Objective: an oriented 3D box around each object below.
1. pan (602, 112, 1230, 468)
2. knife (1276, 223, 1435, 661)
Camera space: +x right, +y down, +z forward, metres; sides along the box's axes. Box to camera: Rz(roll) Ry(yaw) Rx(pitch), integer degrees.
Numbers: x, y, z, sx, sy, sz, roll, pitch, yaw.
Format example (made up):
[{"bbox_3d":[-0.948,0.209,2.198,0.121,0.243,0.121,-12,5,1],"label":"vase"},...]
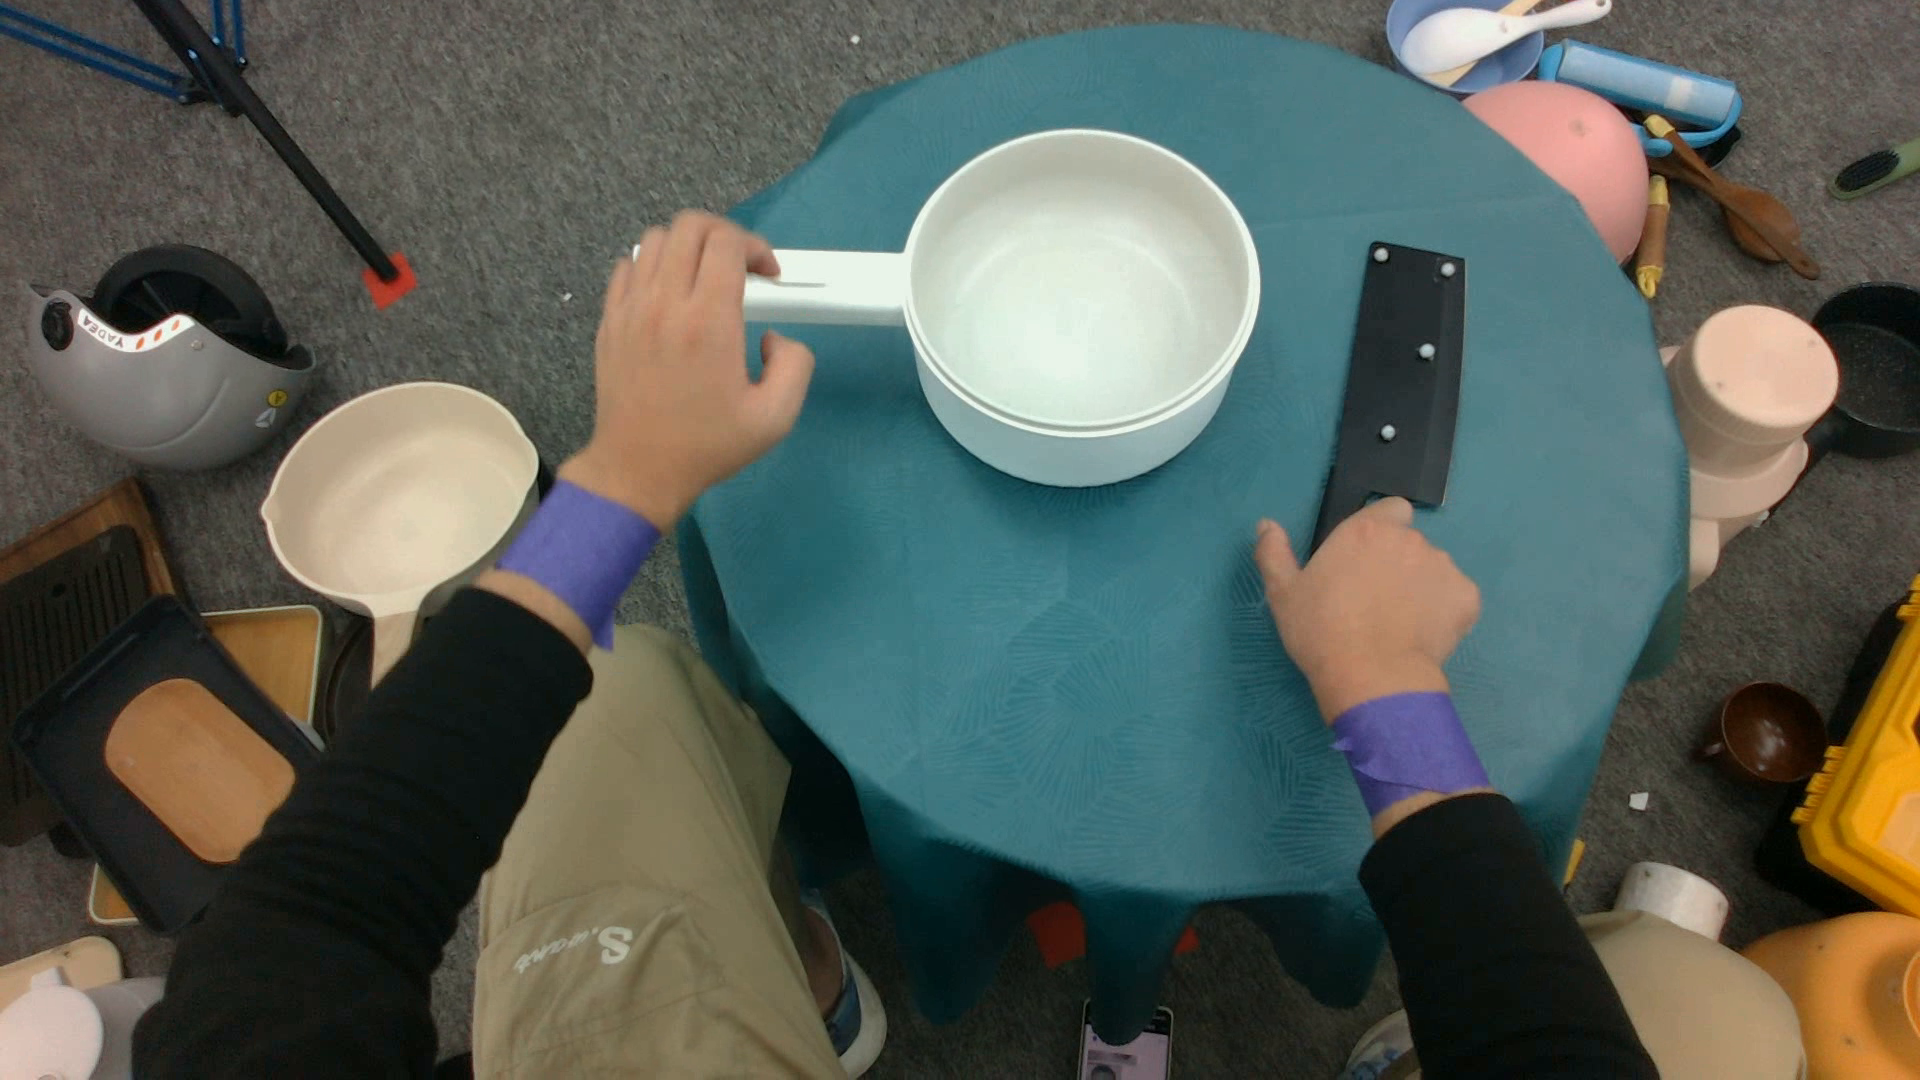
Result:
[{"bbox_3d":[-0.025,-0.143,0.816,0.355,0.102,0.202,1,68,2],"label":"pan"},{"bbox_3d":[0.238,-0.068,0.825,0.081,0.021,0.303,17,66,7],"label":"knife"}]
